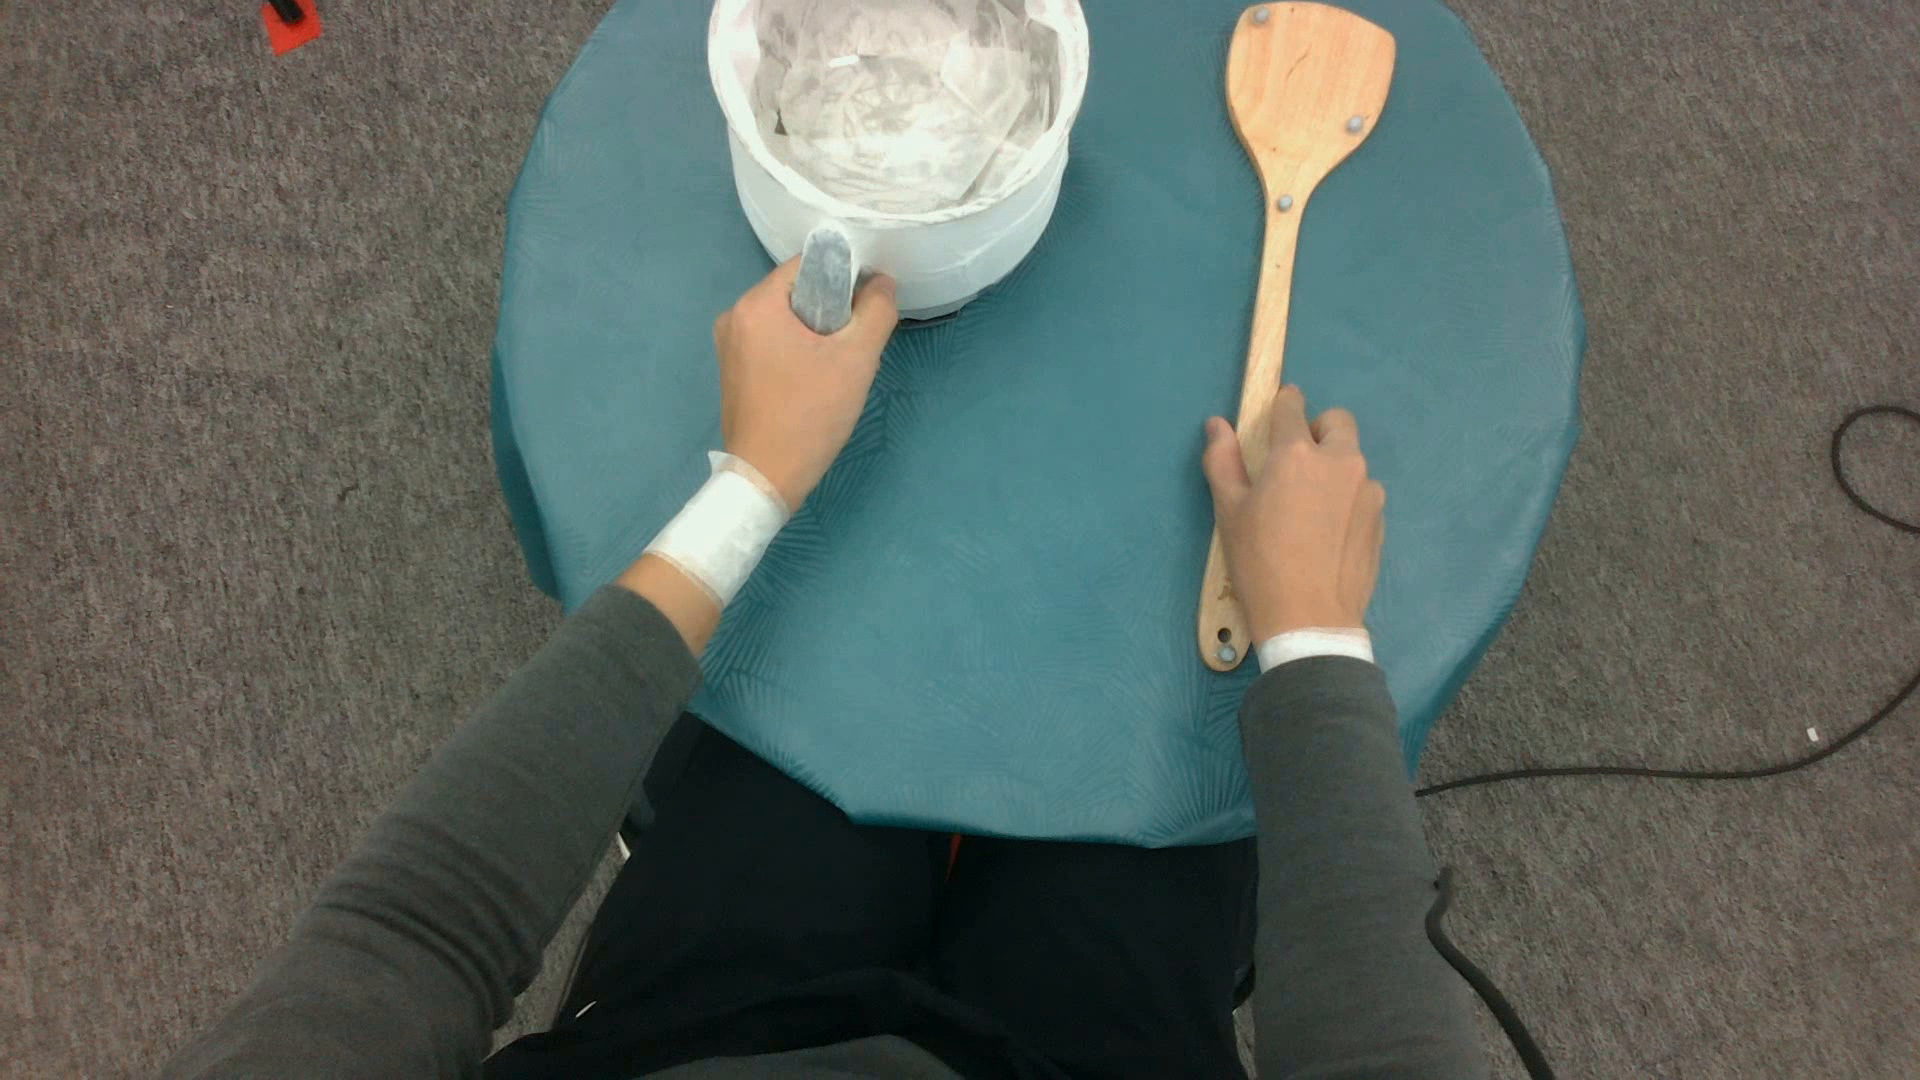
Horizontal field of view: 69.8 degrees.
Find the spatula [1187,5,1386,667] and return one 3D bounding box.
[{"bbox_3d":[0.169,-0.121,0.761,0.096,0.018,0.391,10,76,0],"label":"spatula"}]

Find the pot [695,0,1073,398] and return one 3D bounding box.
[{"bbox_3d":[-0.046,-0.191,0.701,0.179,0.136,0.234,17,77,1],"label":"pot"}]
